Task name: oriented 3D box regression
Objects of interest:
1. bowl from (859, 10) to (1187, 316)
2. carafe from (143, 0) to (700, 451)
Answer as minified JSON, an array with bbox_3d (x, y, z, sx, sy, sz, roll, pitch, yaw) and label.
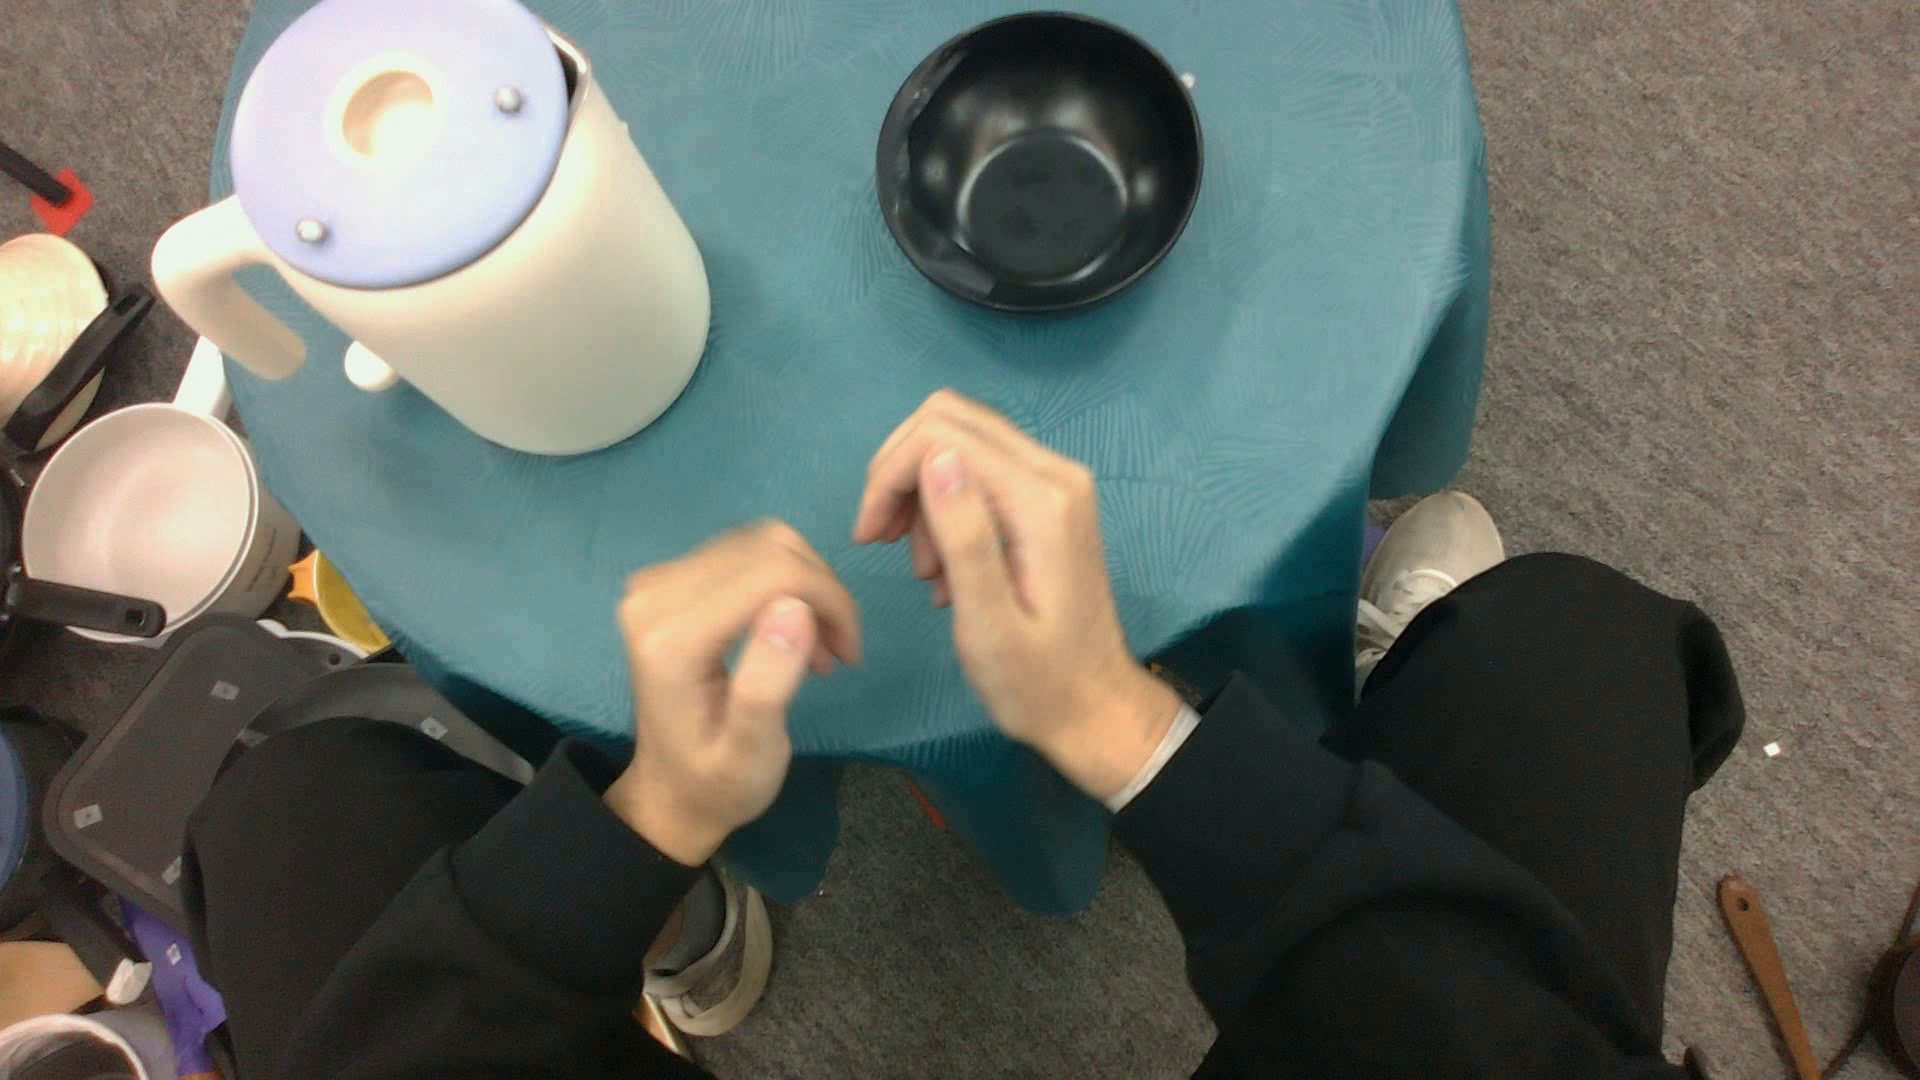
[{"bbox_3d":[0.027,-0.157,0.604,0.140,0.049,0.140,-1,77,3],"label":"bowl"},{"bbox_3d":[-0.211,-0.112,0.548,0.191,0.182,0.132,-22,74,1],"label":"carafe"}]
